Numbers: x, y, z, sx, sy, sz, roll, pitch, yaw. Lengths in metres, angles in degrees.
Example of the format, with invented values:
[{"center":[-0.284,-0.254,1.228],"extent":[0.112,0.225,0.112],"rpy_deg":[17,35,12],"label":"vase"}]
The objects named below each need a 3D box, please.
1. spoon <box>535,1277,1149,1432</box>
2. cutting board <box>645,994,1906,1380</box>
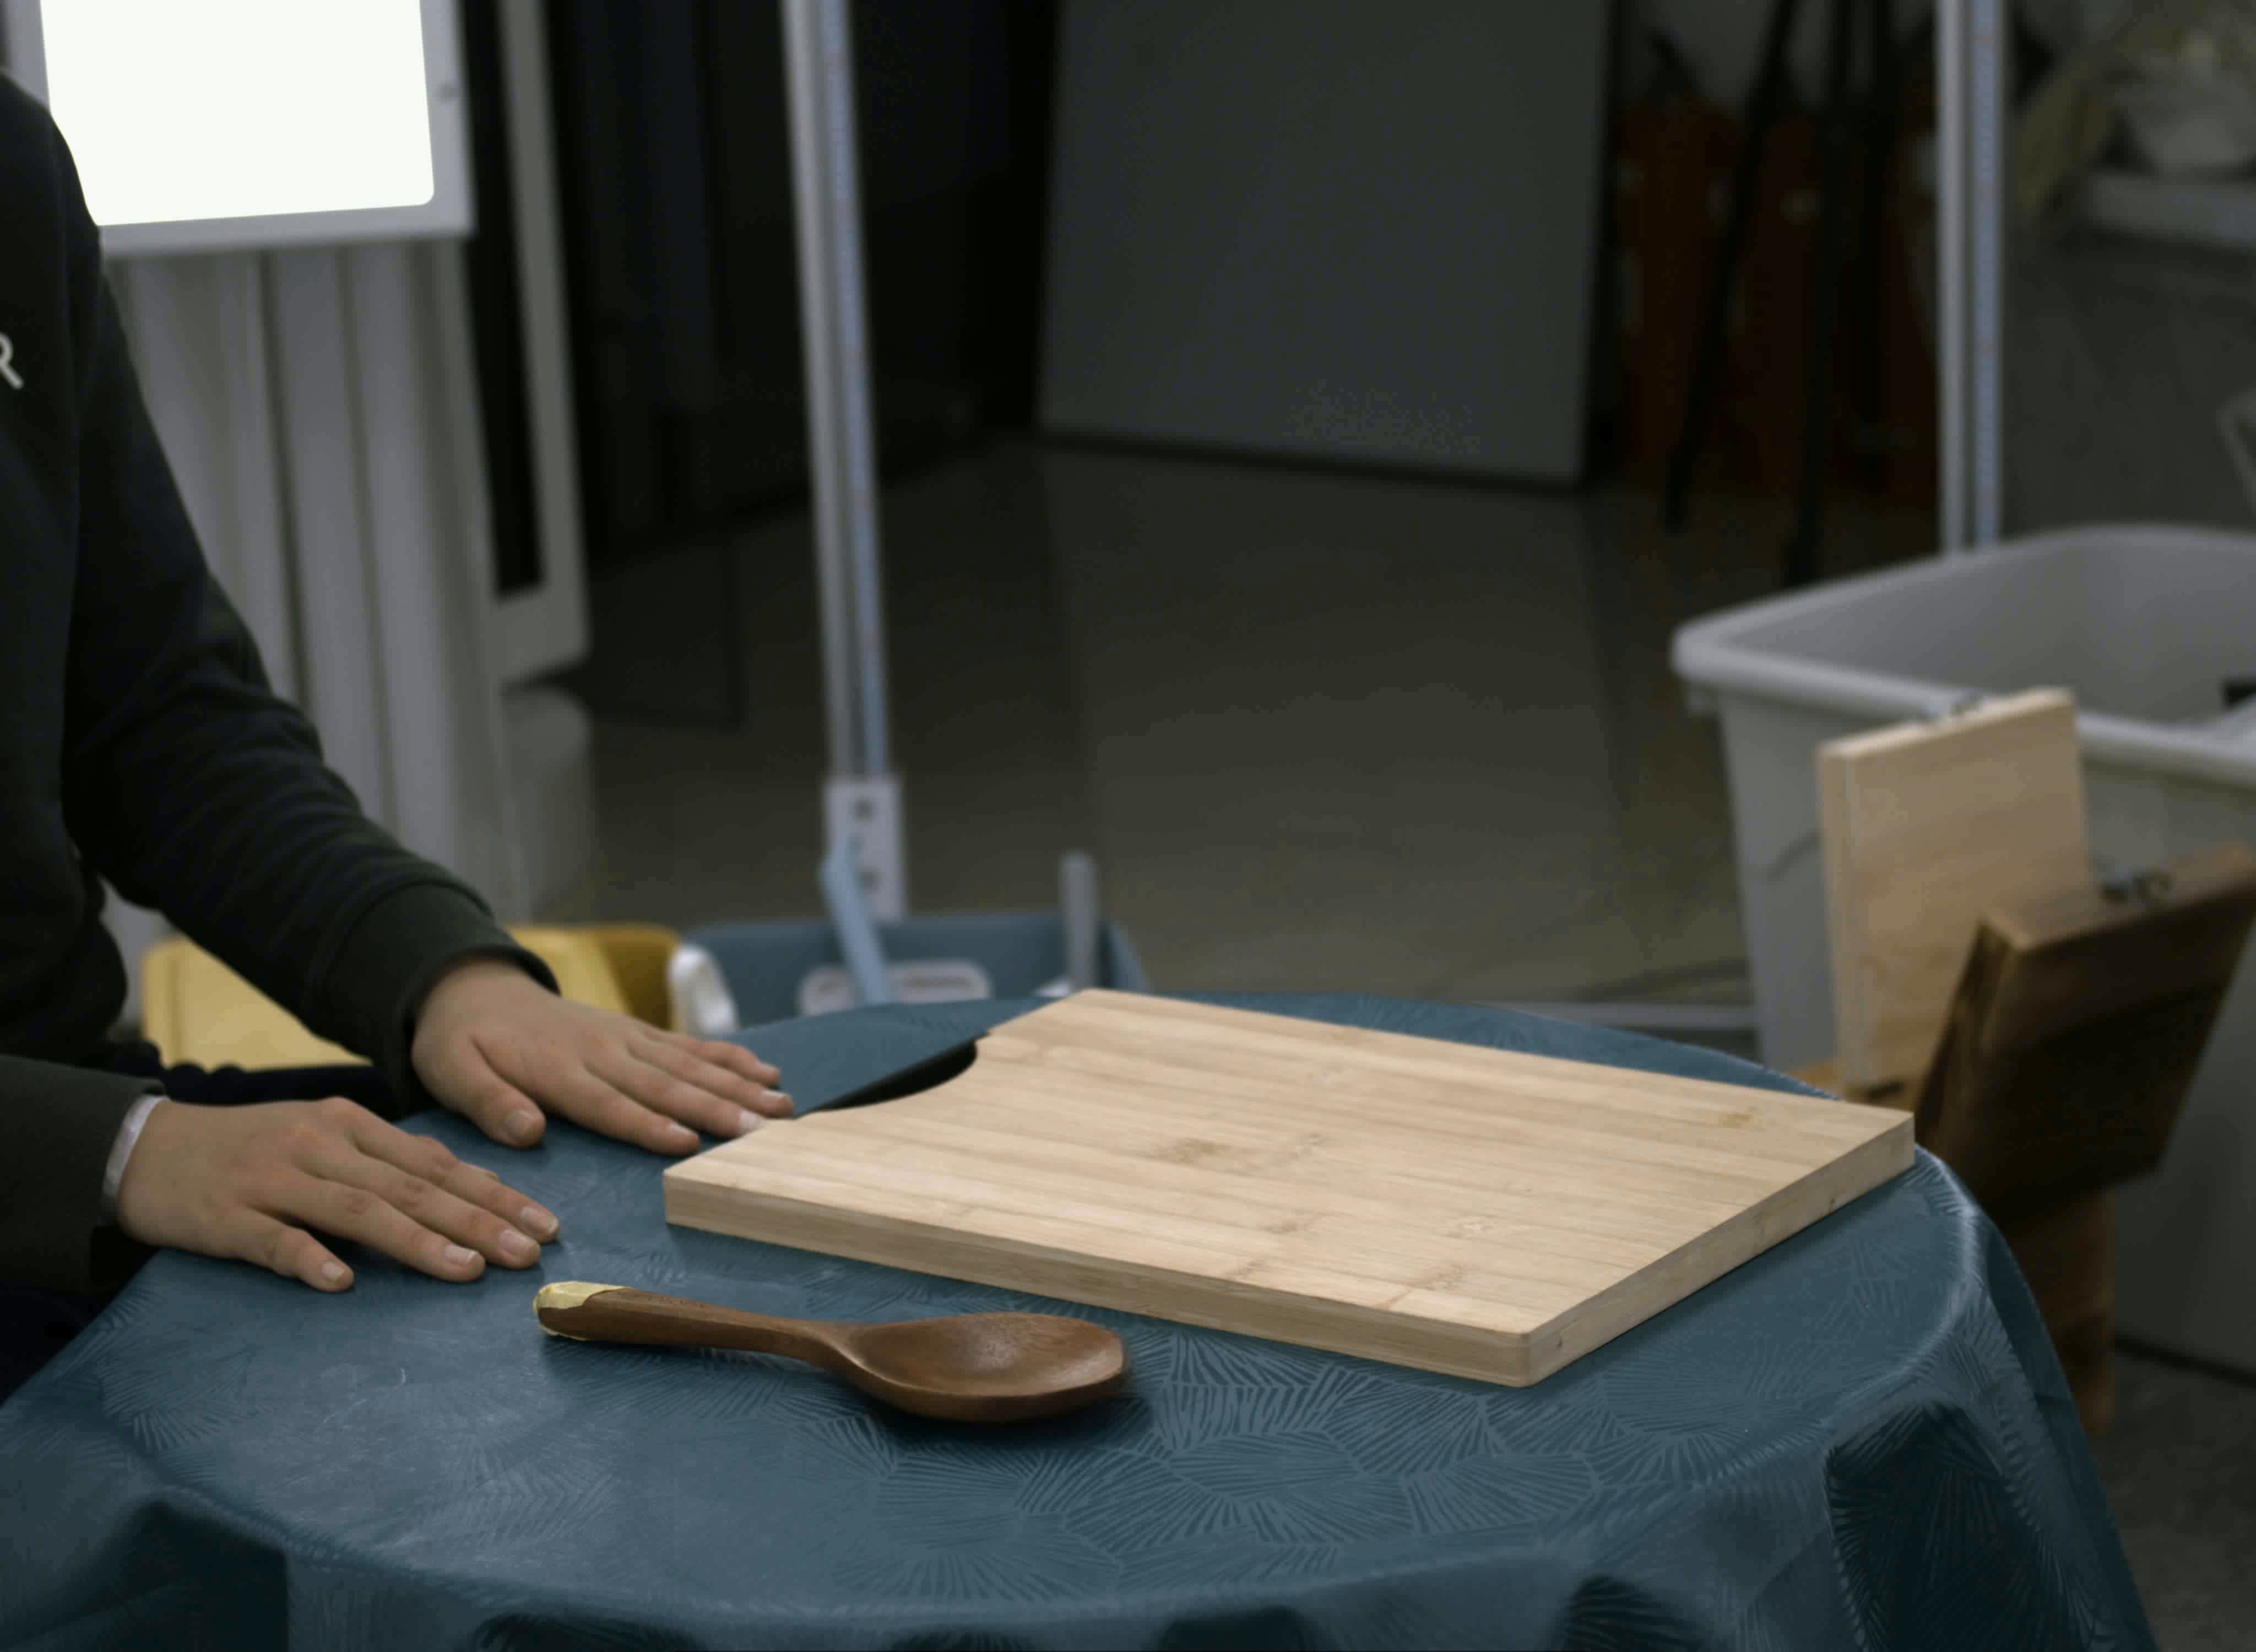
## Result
[{"center":[-0.089,0.157,1.617],"extent":[0.217,0.017,0.074],"rpy_deg":[6,18,33],"label":"spoon"},{"center":[0.047,0.112,1.760],"extent":[0.351,0.024,0.246],"rpy_deg":[6,17,36],"label":"cutting board"}]
